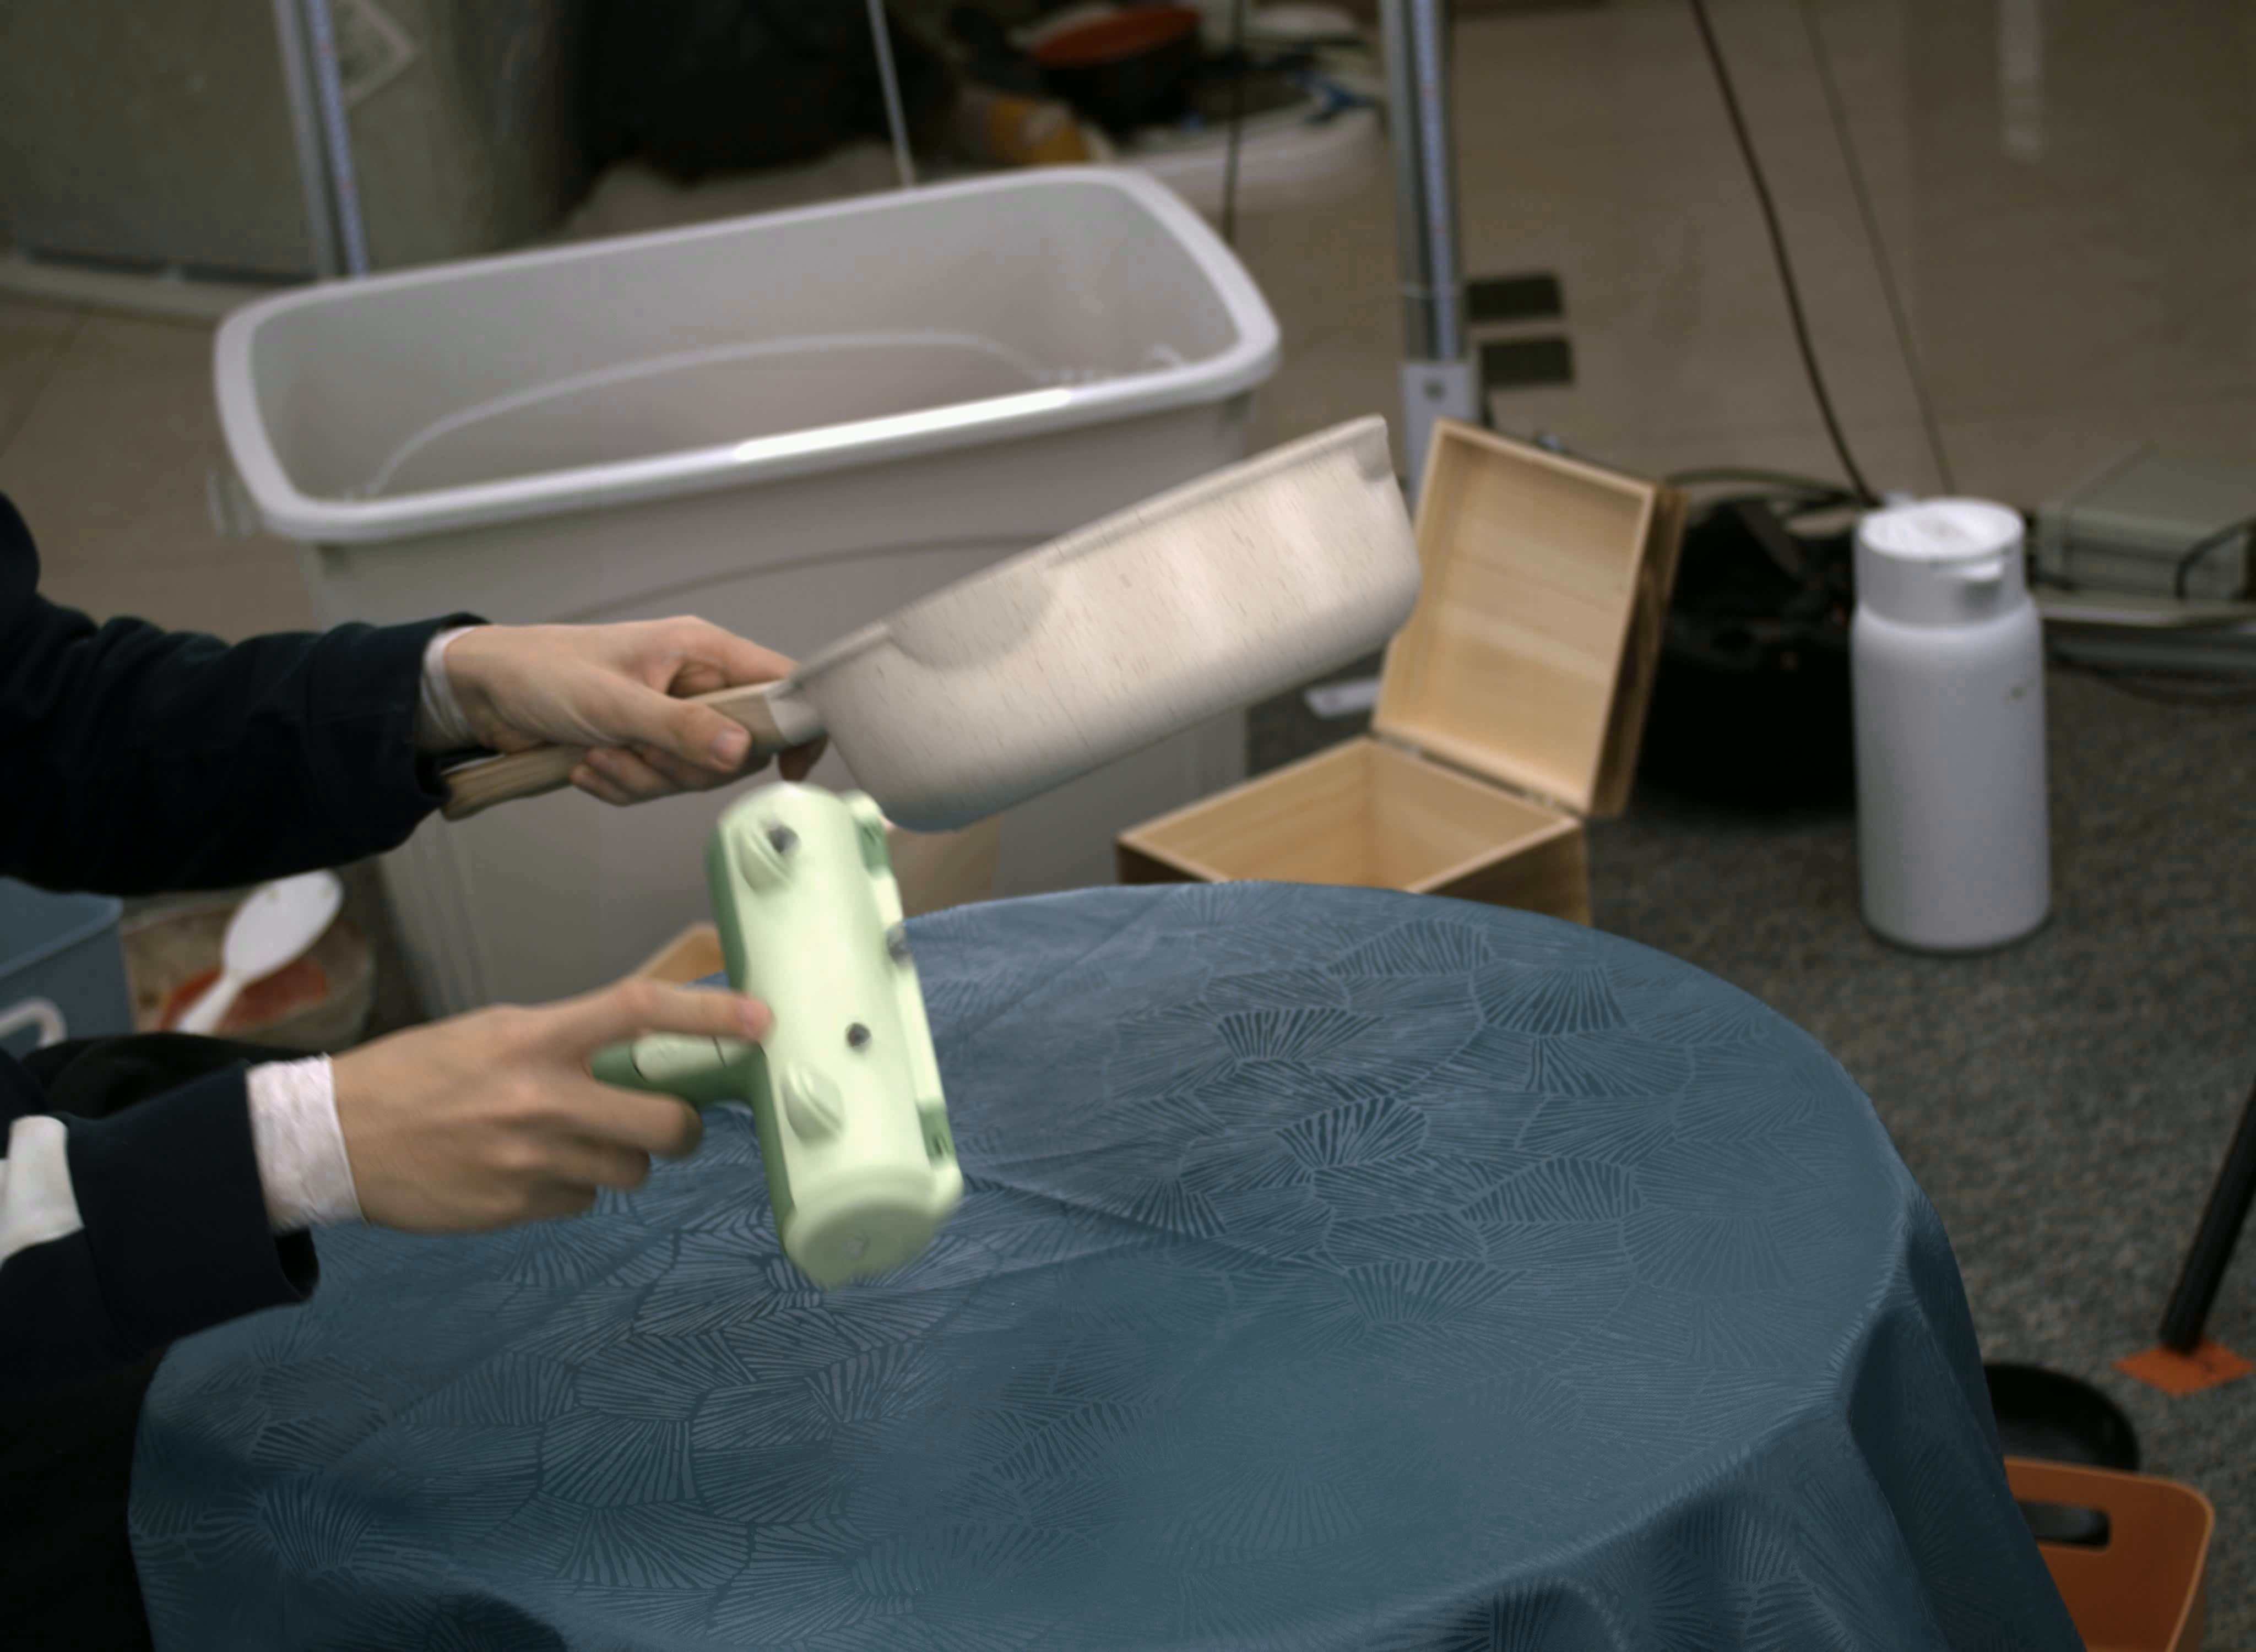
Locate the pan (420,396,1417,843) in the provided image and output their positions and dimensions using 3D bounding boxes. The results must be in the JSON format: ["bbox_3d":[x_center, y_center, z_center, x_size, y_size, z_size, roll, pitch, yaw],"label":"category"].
[{"bbox_3d":[-0.082,-0.048,2.215,0.437,0.102,0.262,-24,1,24],"label":"pan"}]

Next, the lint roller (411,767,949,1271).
[{"bbox_3d":[-0.167,0.072,1.983,0.183,0.084,0.195,-13,51,-3],"label":"lint roller"}]
